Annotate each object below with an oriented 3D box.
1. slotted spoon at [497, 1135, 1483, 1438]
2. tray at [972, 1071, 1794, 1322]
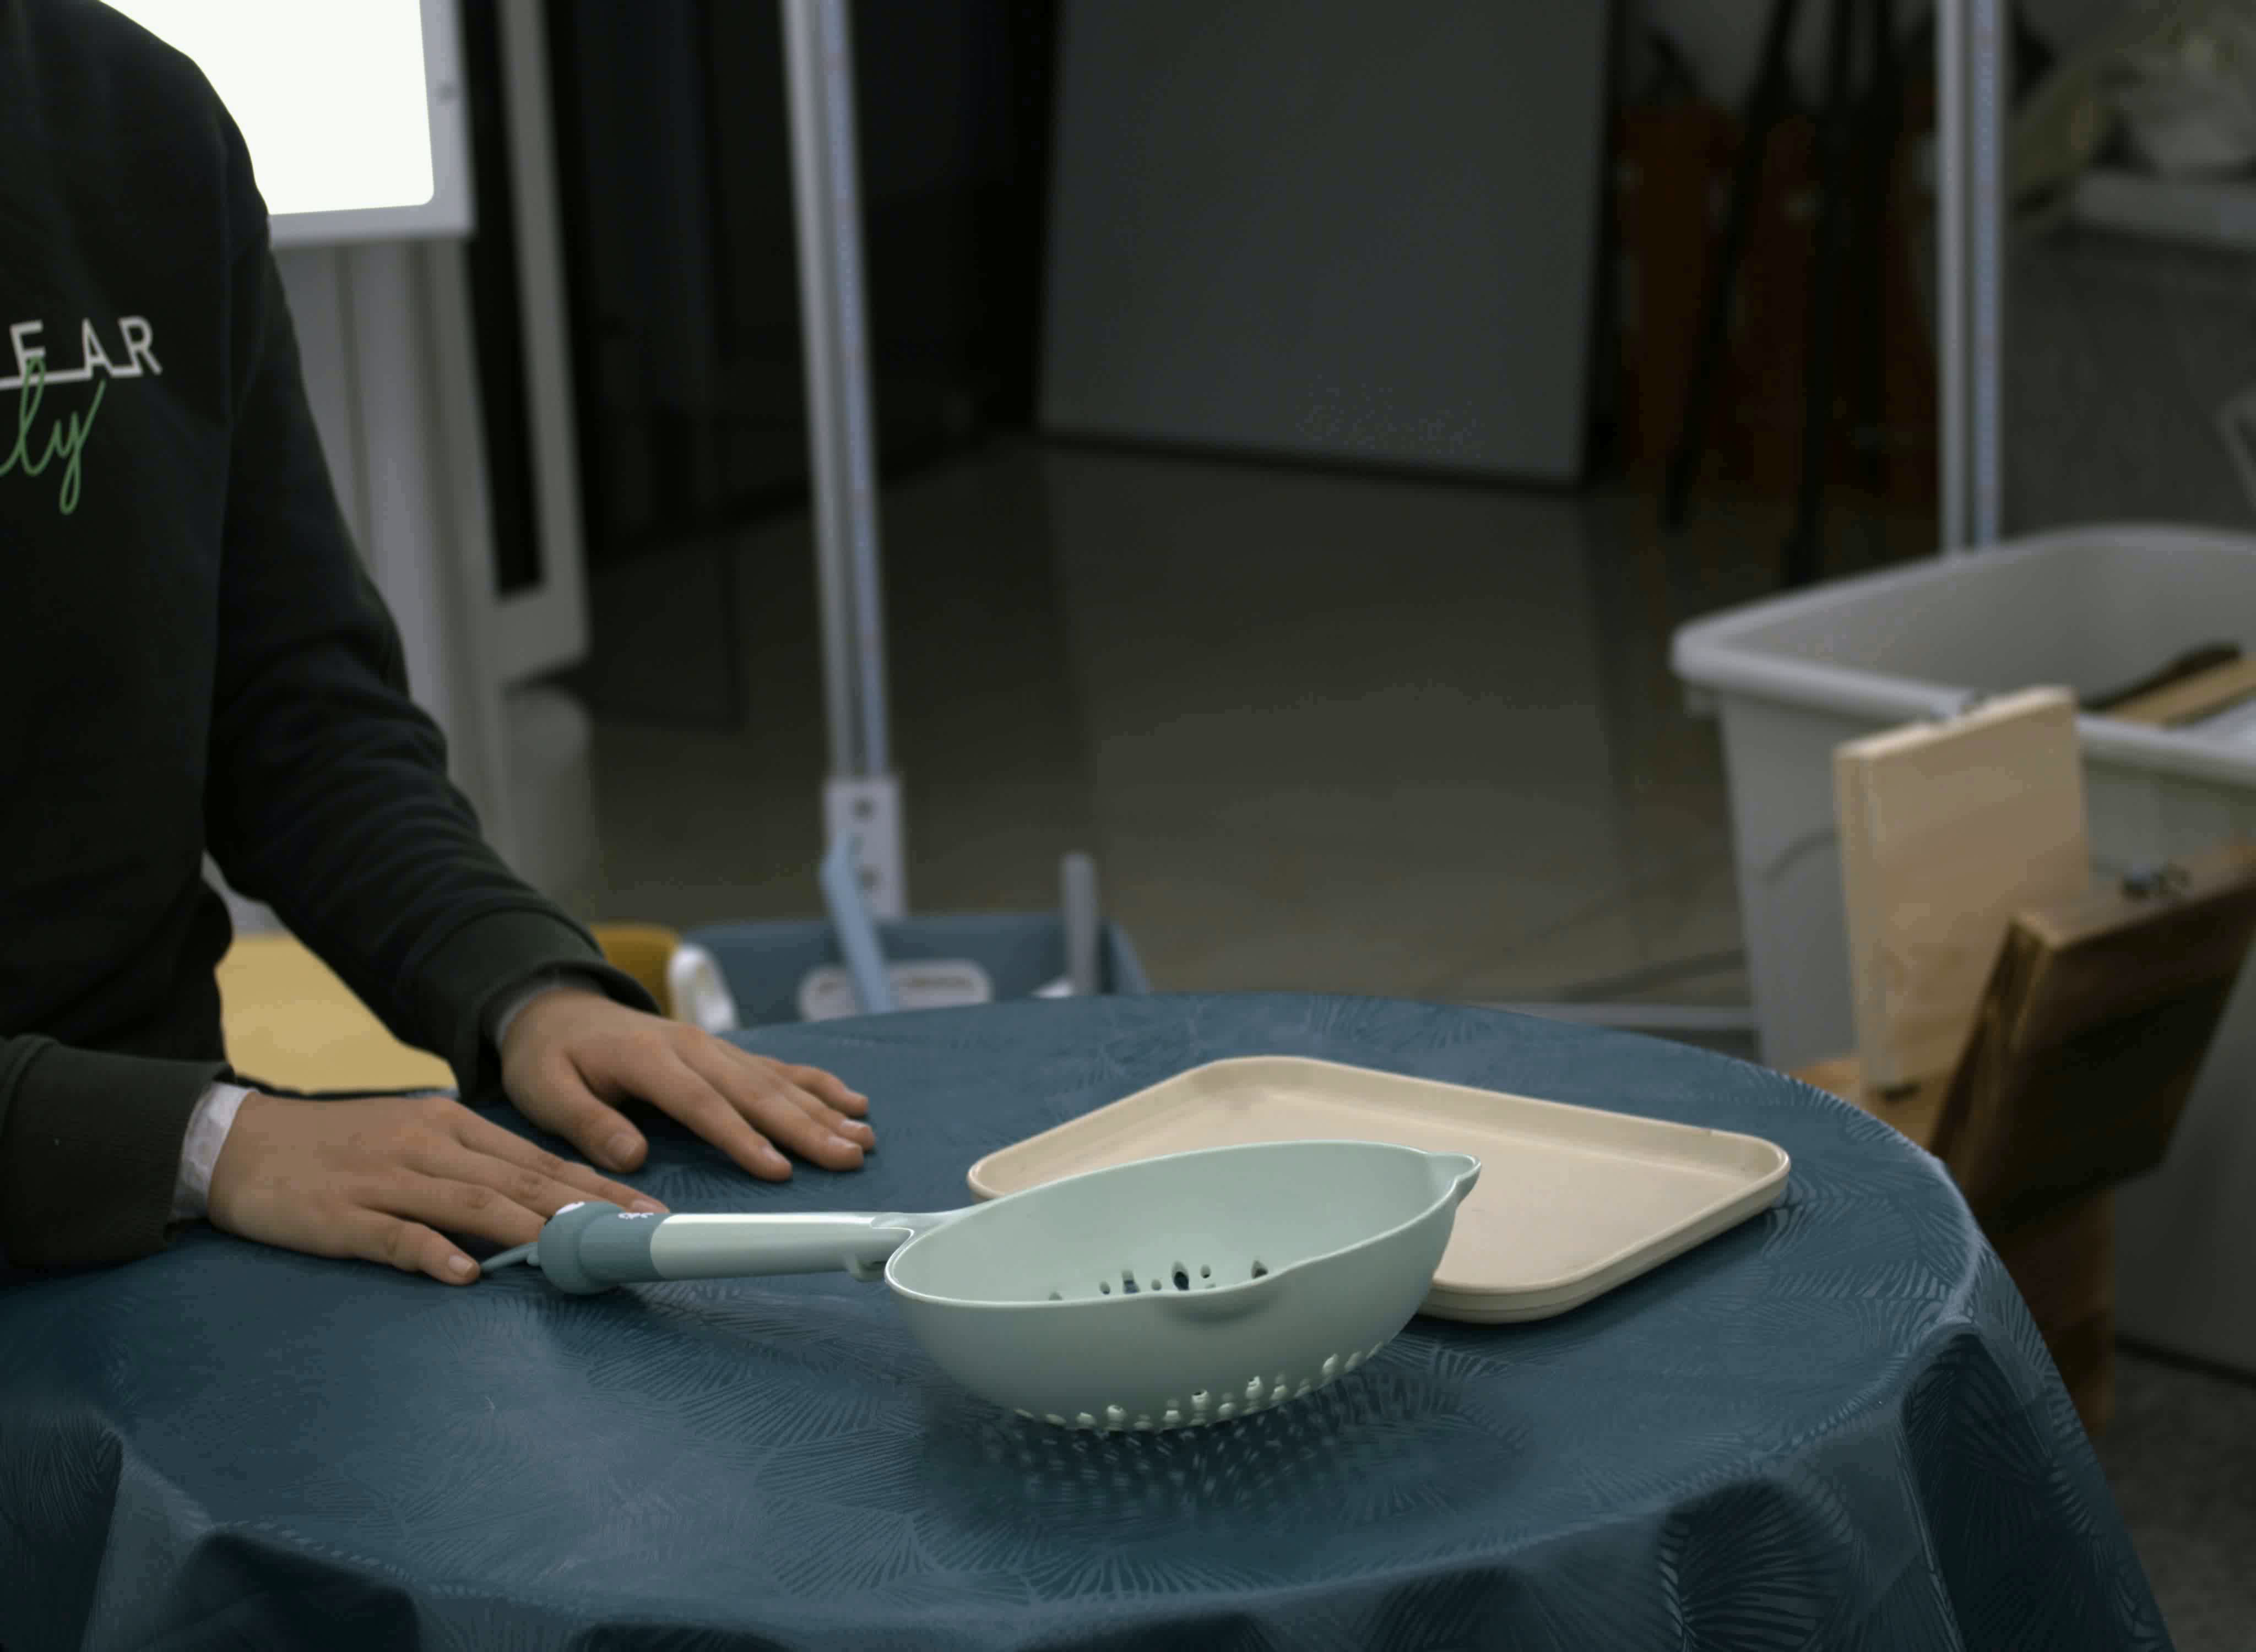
[{"bbox_3d":[-0.060,0.131,1.619,0.361,0.076,0.166,6,16,37],"label":"slotted spoon"},{"bbox_3d":[0.081,0.118,1.728,0.241,0.017,0.168,6,17,39],"label":"tray"}]
